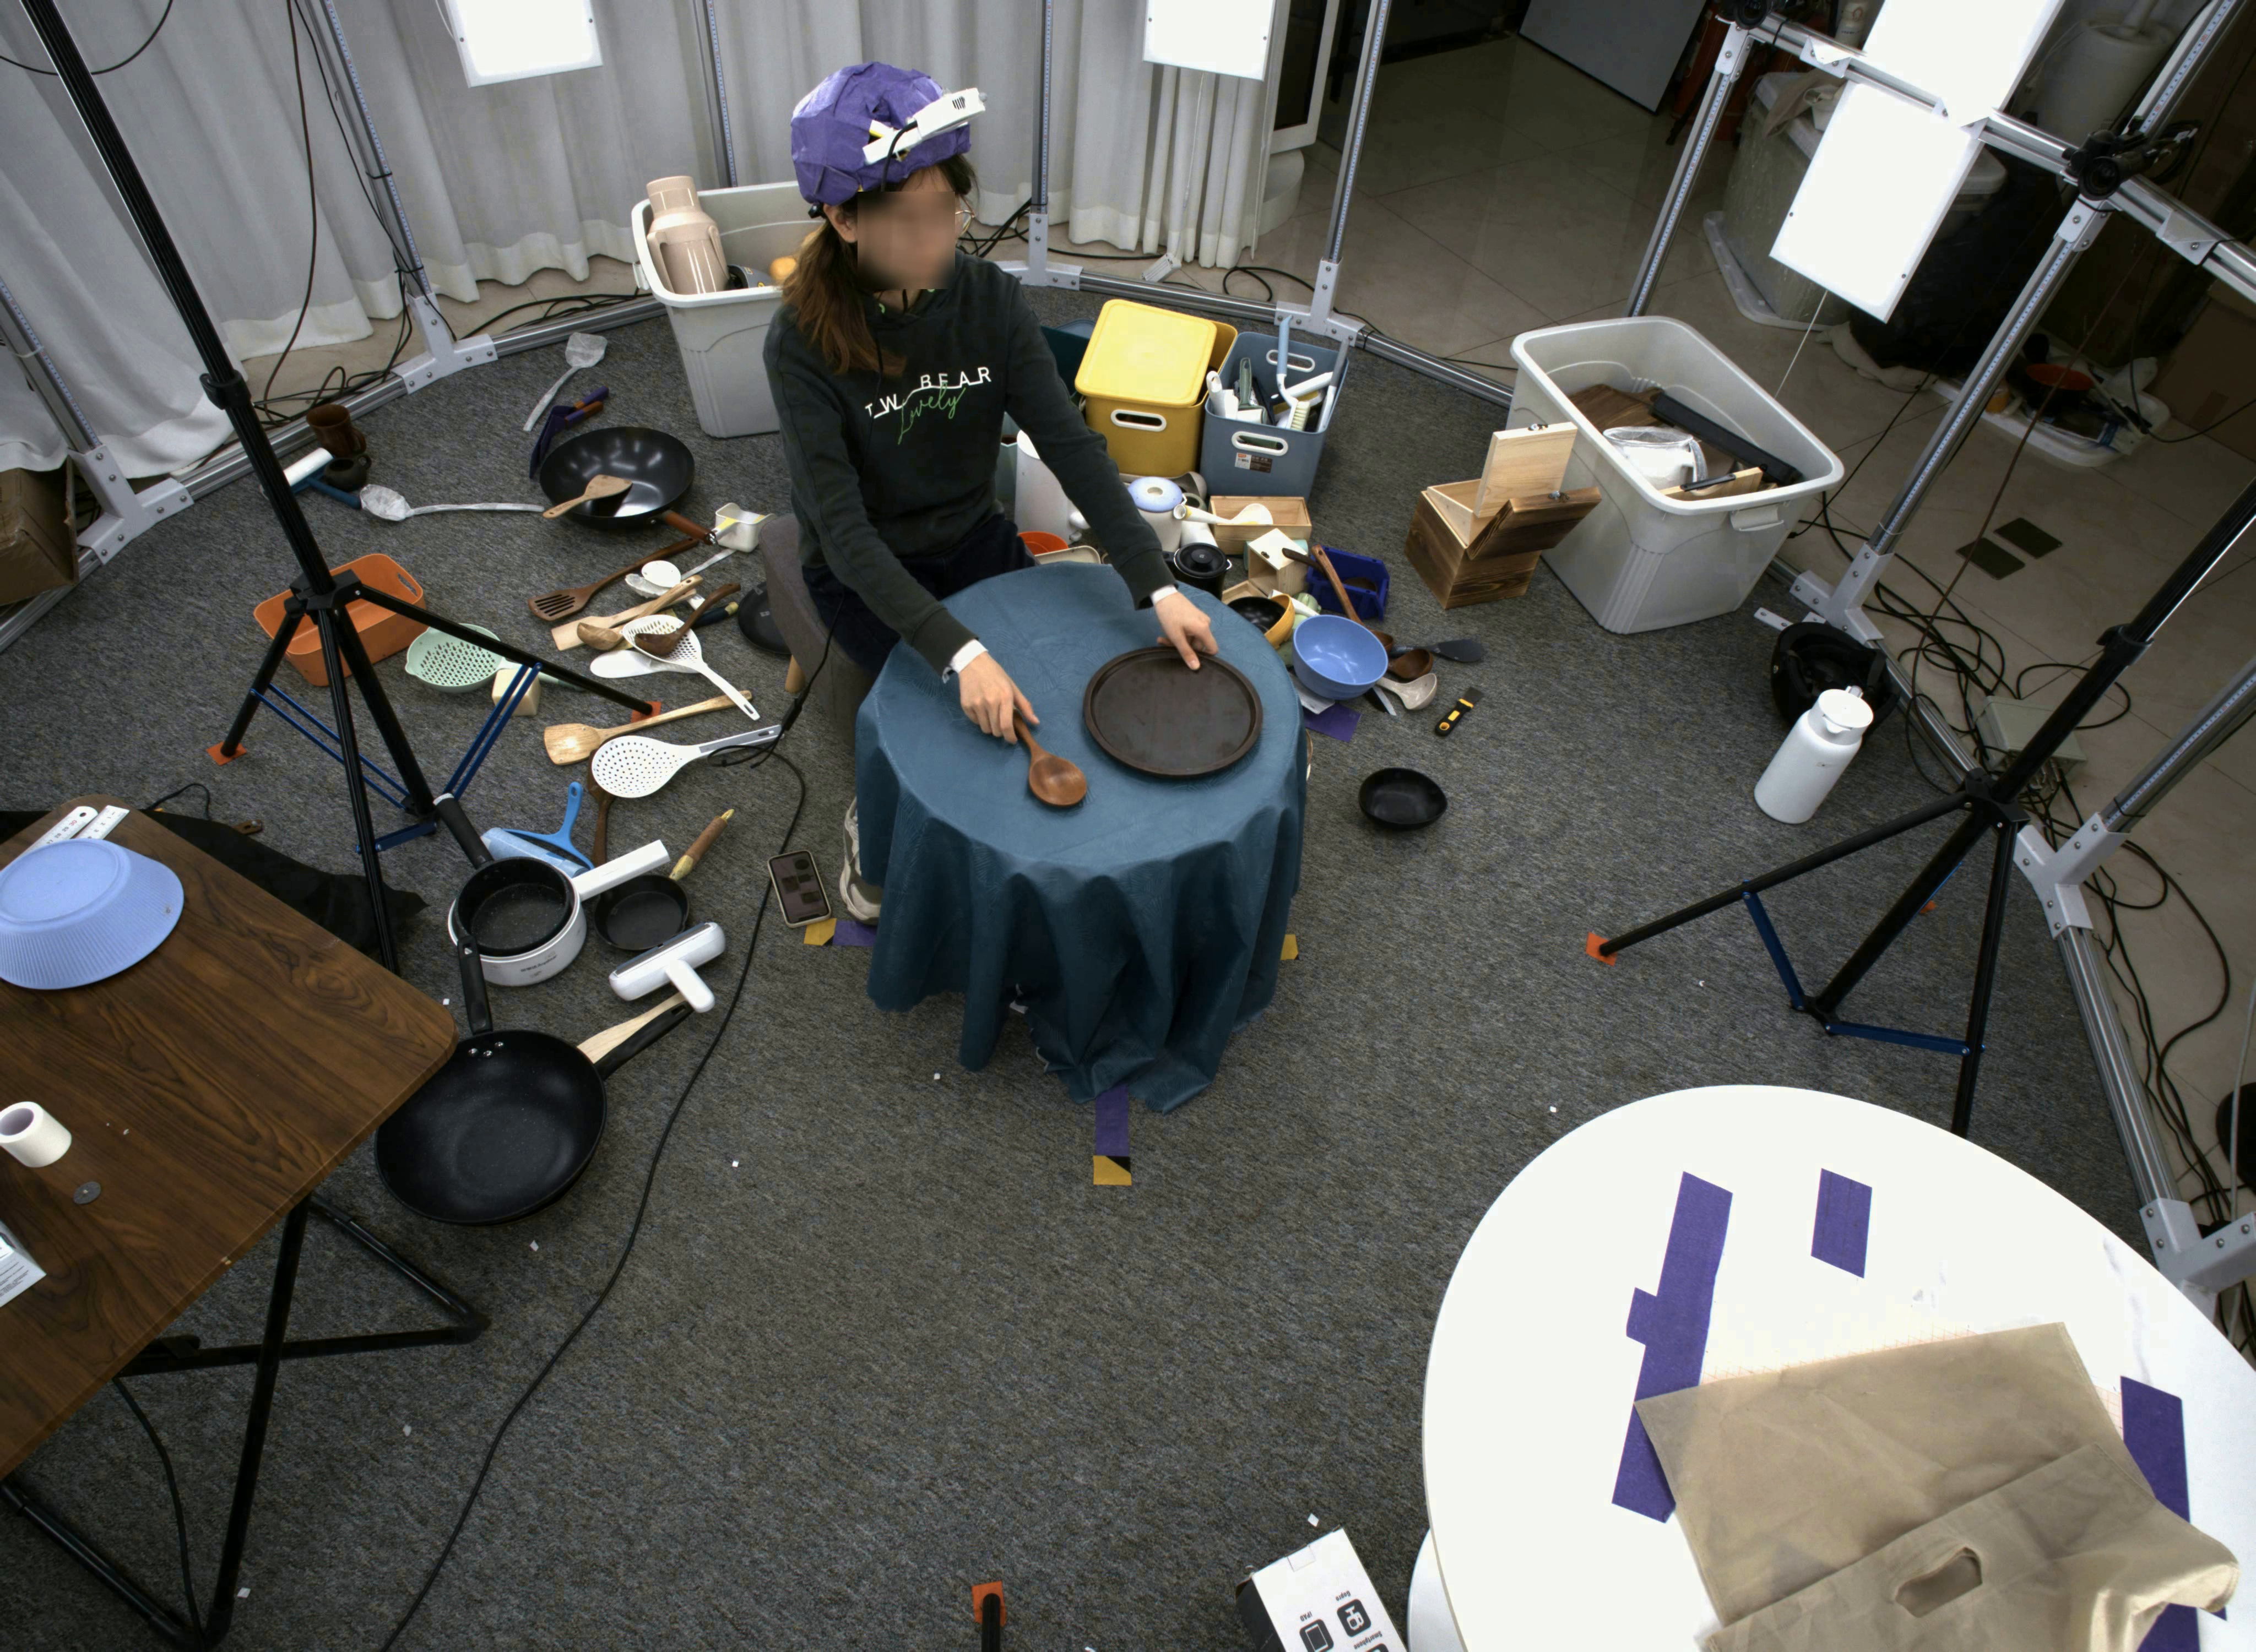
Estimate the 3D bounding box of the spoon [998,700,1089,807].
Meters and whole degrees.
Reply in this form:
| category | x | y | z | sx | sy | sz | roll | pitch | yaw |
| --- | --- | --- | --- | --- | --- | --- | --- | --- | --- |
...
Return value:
| category | x | y | z | sx | sy | sz | roll | pitch | yaw |
| --- | --- | --- | --- | --- | --- | --- | --- | --- | --- |
| spoon | -0.123 | -0.100 | 1.751 | 0.075 | 0.017 | 0.220 | -21 | 54 | -20 |

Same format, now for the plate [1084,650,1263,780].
| category | x | y | z | sx | sy | sz | roll | pitch | yaw |
| --- | --- | --- | --- | --- | --- | --- | --- | --- | --- |
| plate | 0.064 | -0.159 | 1.812 | 0.254 | 0.028 | 0.261 | 2 | 49 | -3 |
